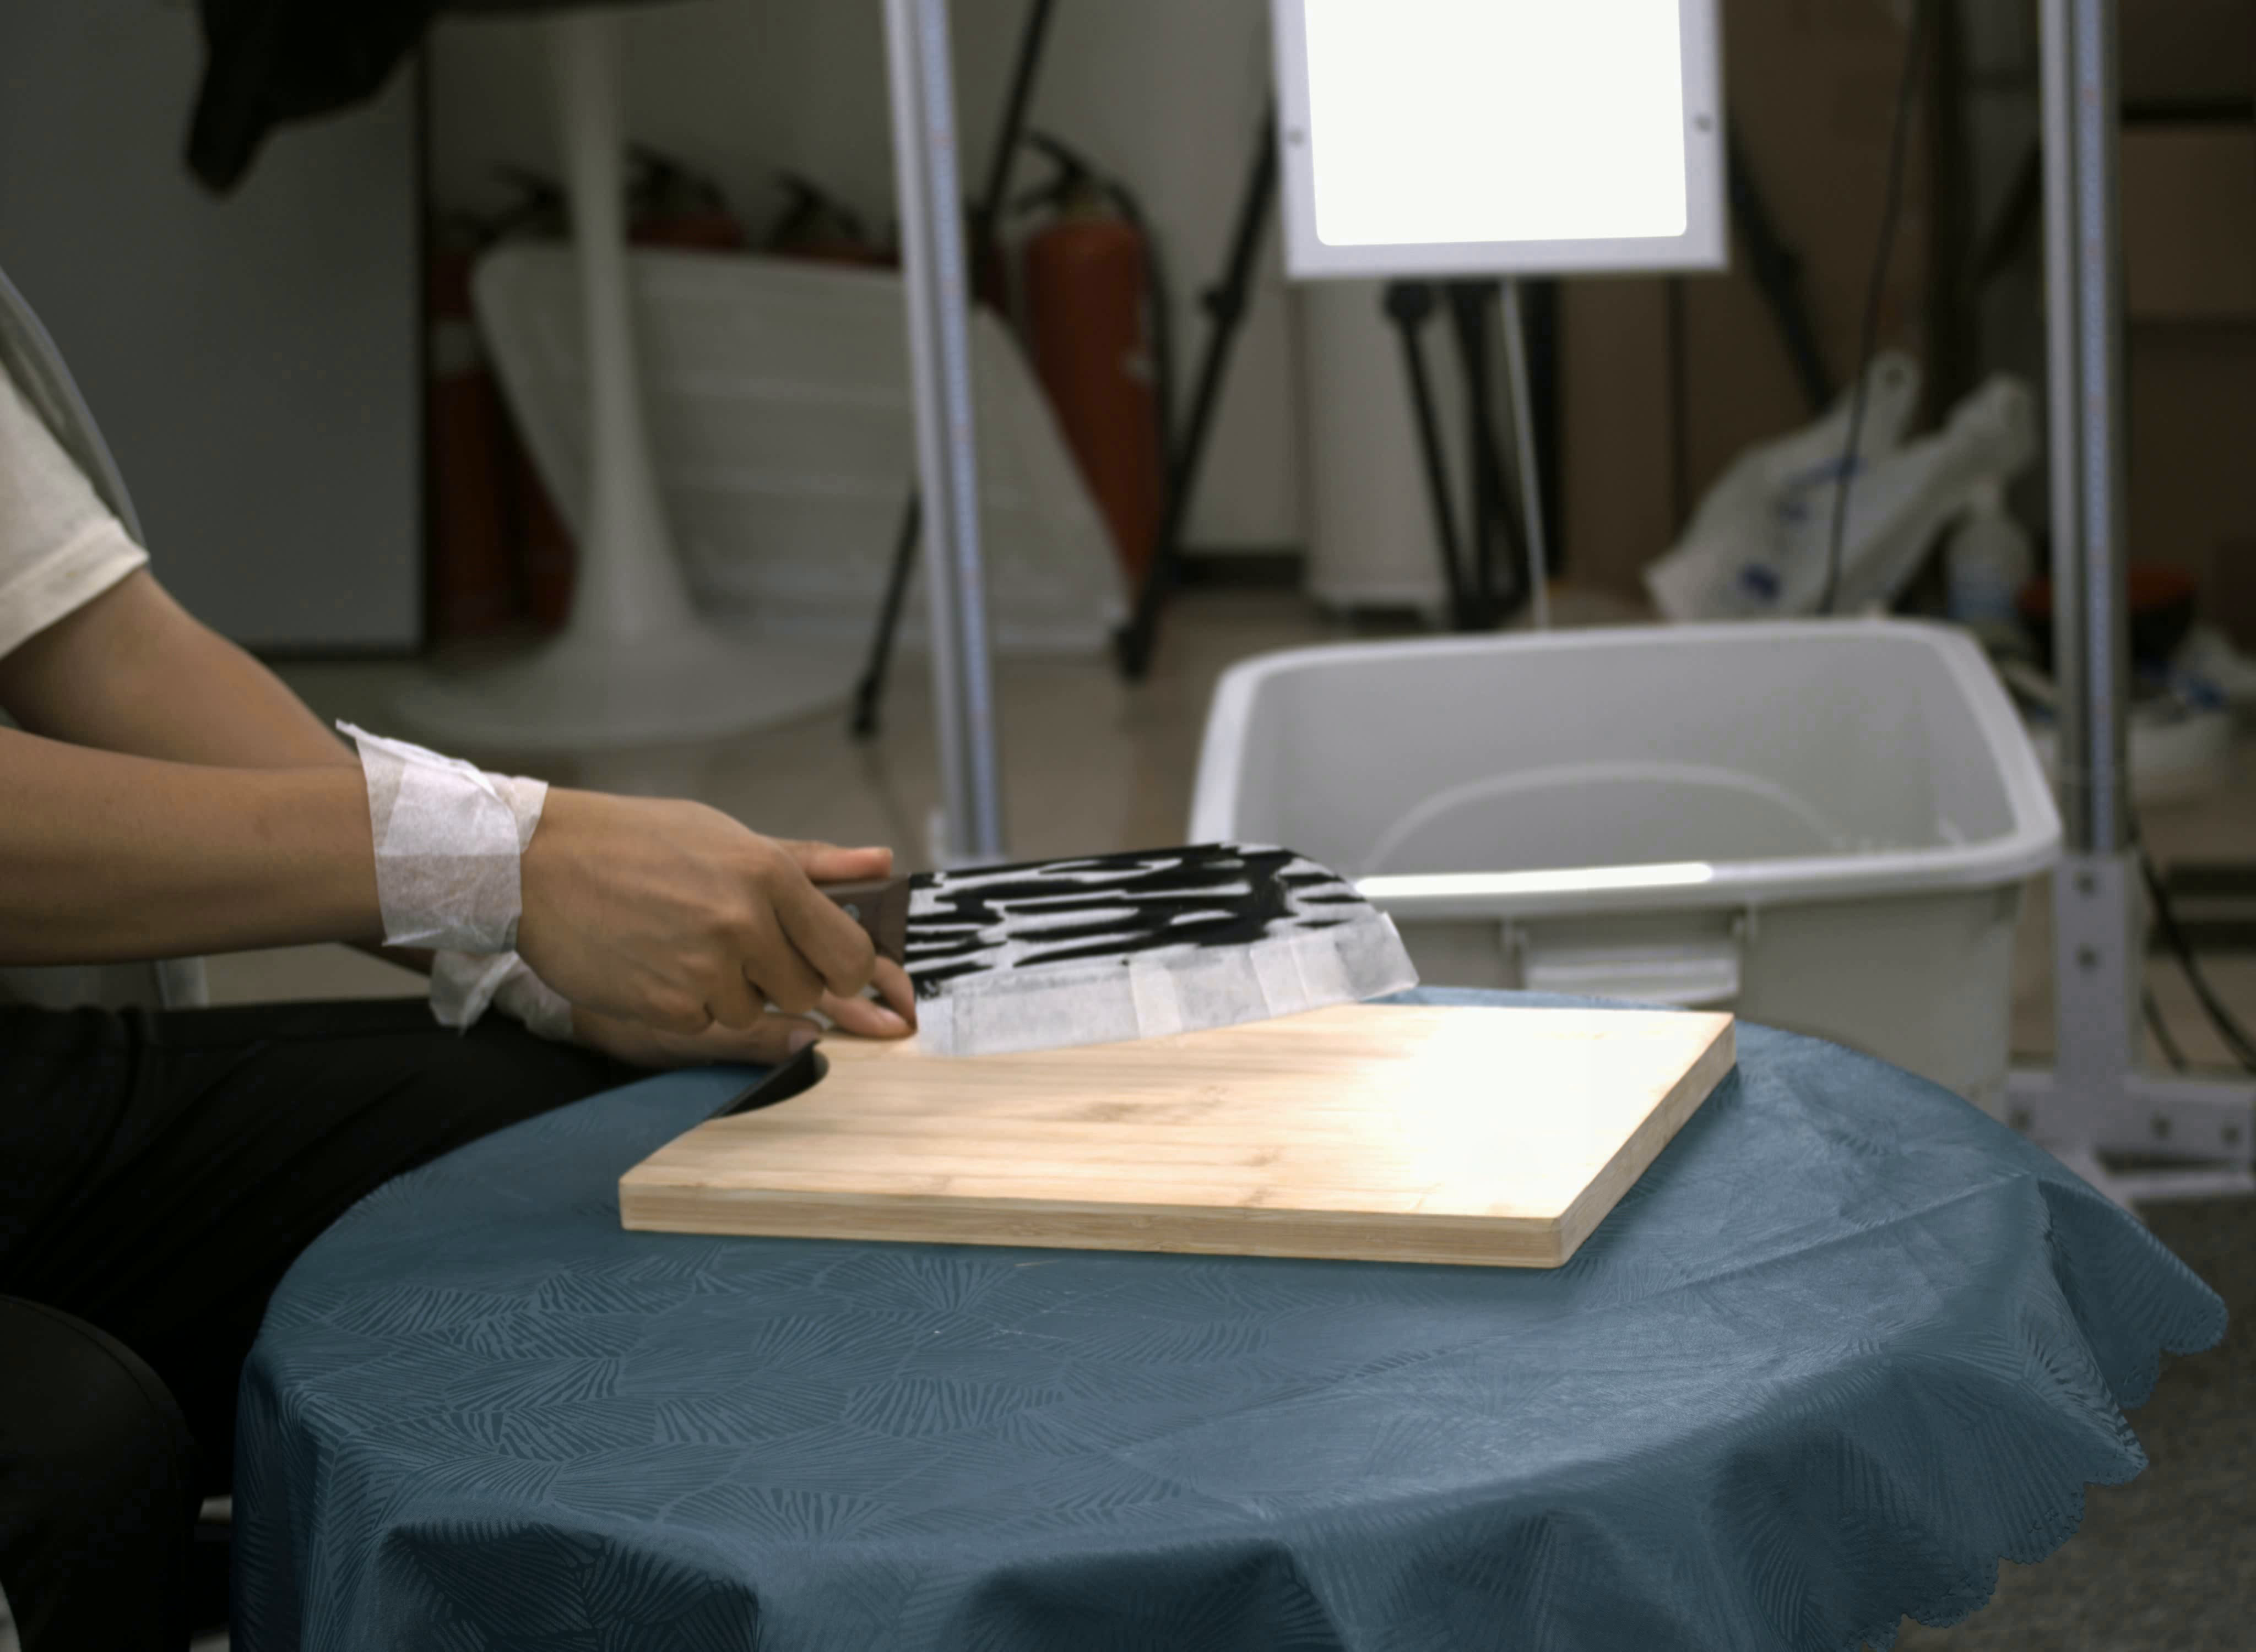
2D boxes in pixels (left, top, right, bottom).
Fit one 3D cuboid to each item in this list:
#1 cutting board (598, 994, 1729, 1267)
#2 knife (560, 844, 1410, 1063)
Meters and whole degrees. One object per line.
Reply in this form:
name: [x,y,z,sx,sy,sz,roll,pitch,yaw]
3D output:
cutting board: [0.017,0.104,1.948,0.353,0.023,0.246,0,14,21]
knife: [-0.051,0.048,1.946,0.299,0.068,0.024,-5,-2,3]
